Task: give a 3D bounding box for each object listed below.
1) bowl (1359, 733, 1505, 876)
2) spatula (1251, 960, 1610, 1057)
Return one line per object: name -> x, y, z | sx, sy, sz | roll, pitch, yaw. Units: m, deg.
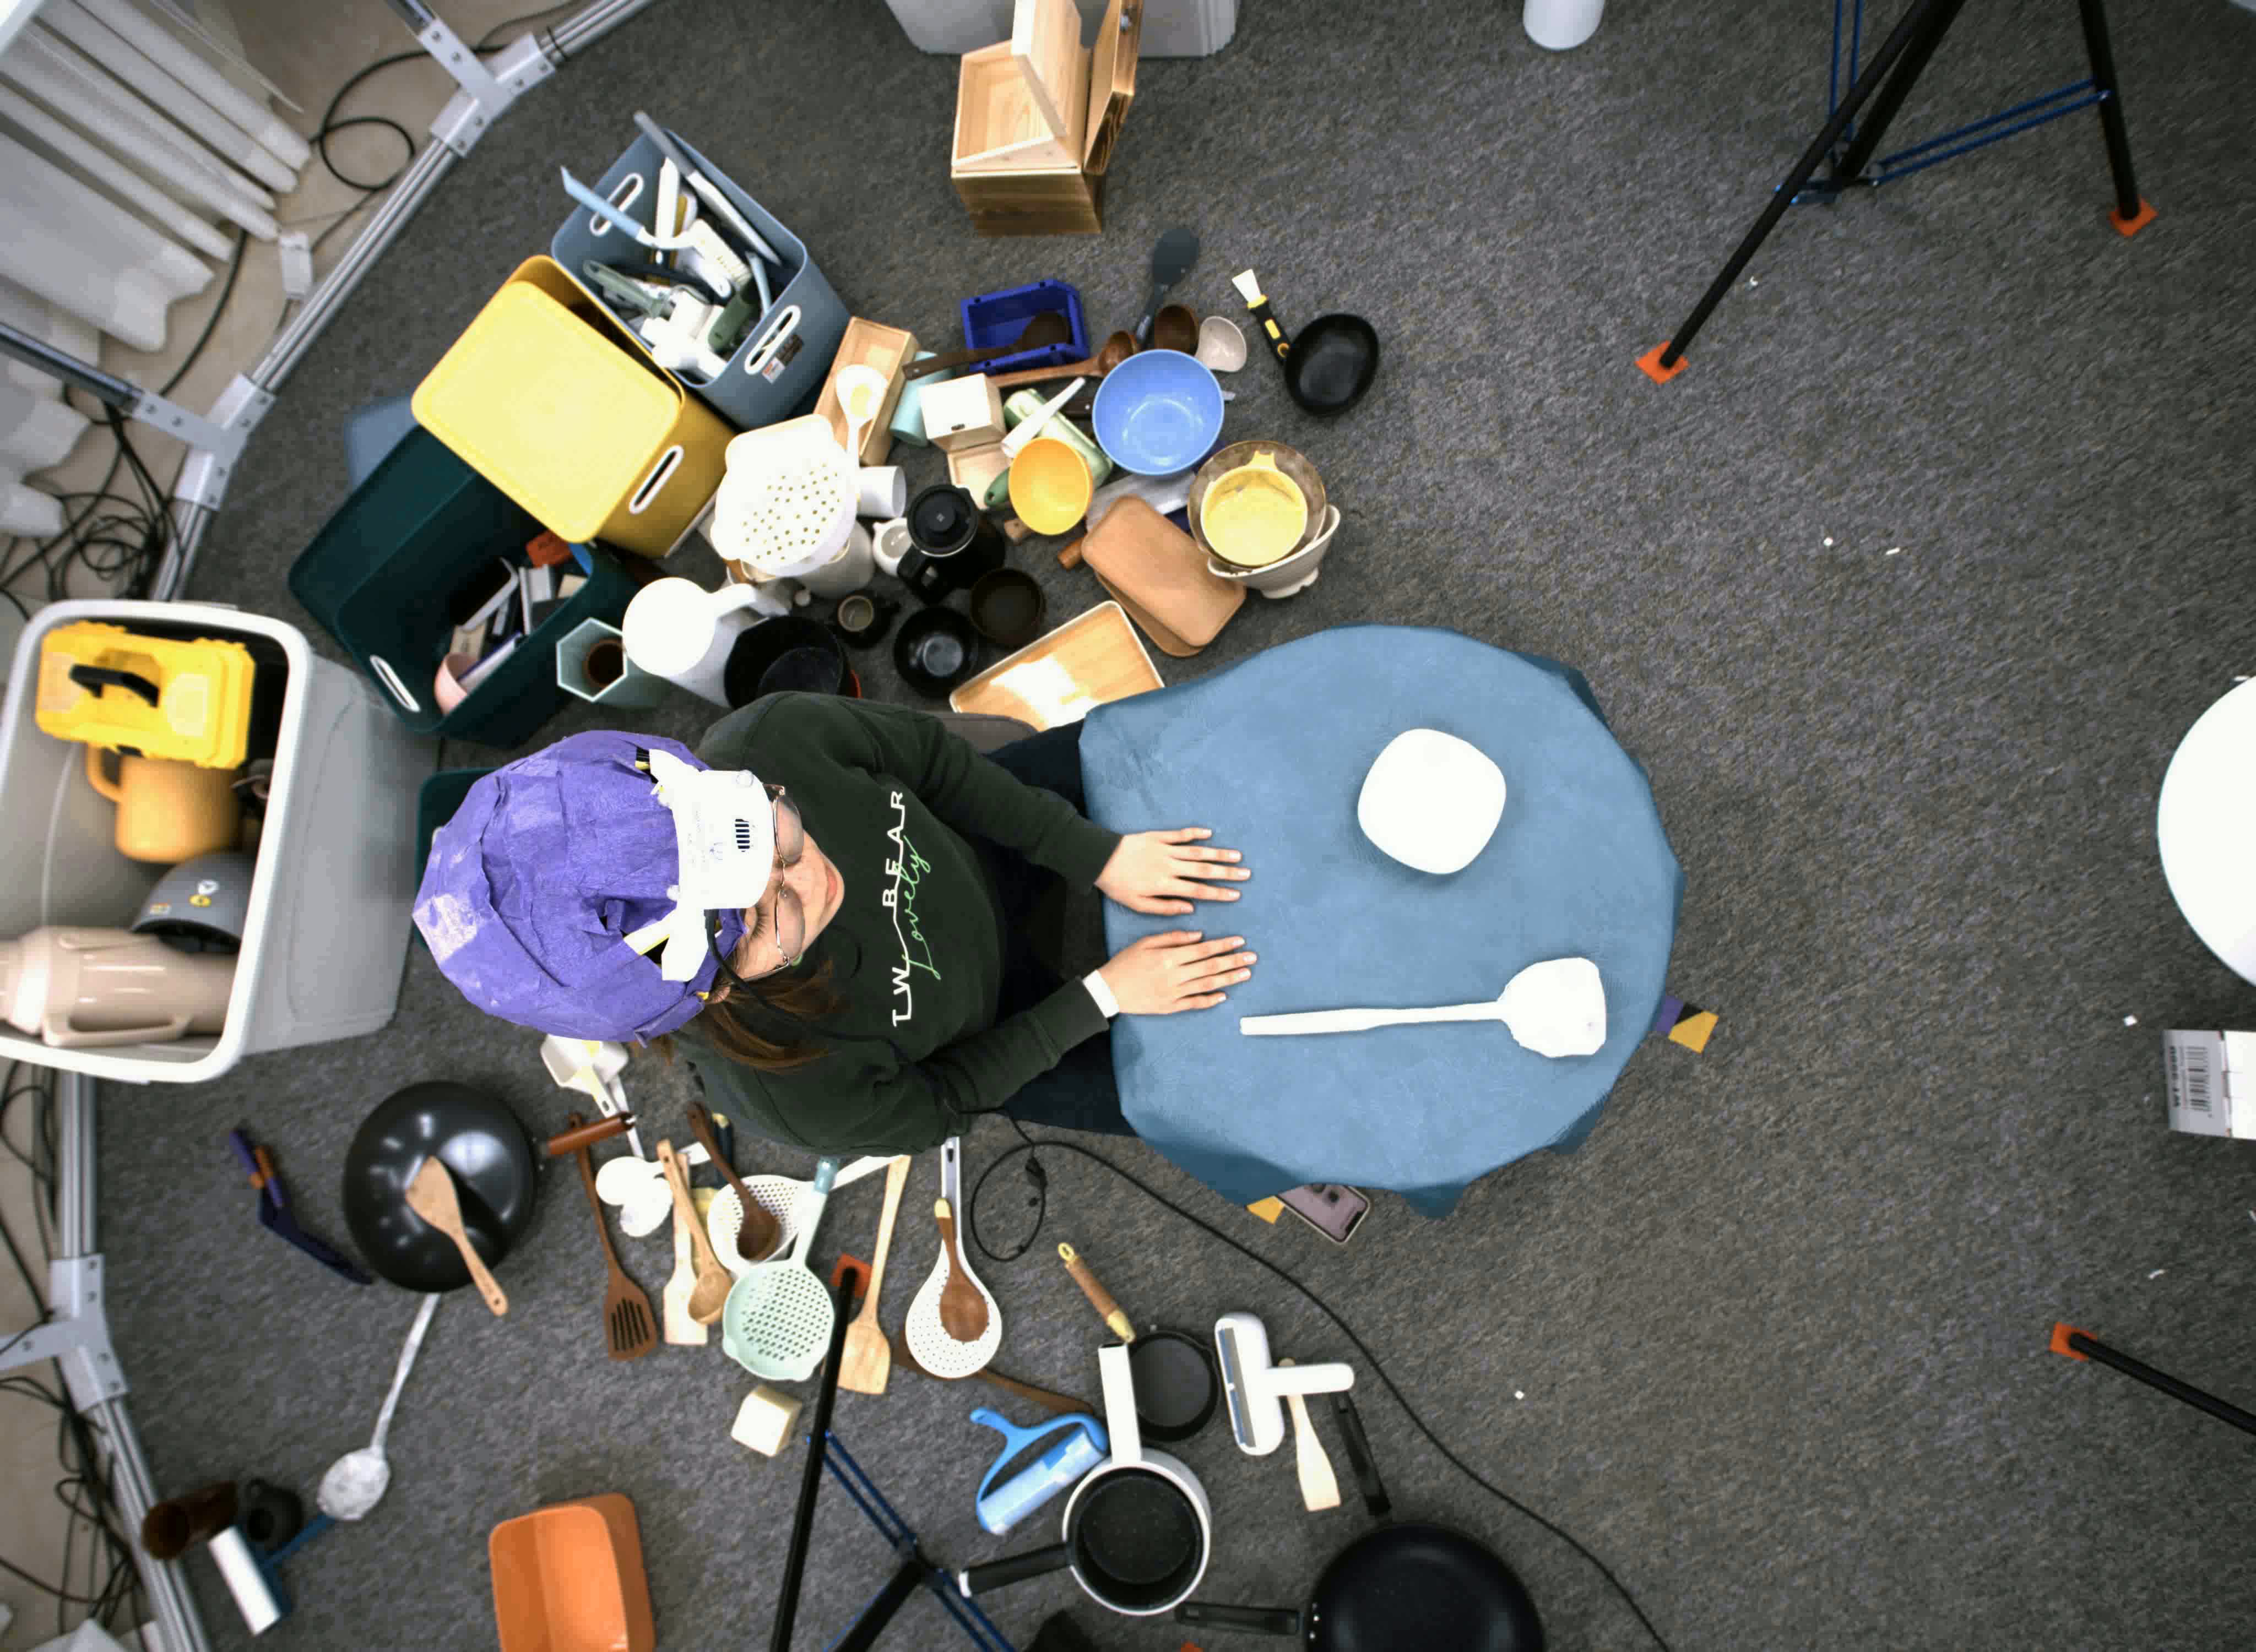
bowl -> 0.315, -0.021, 1.435 | 0.152, 0.059, 0.150 | -1, 84, 8
spatula -> 0.307, 0.193, 1.430 | 0.366, 0.045, 0.098 | -4, 87, 10
